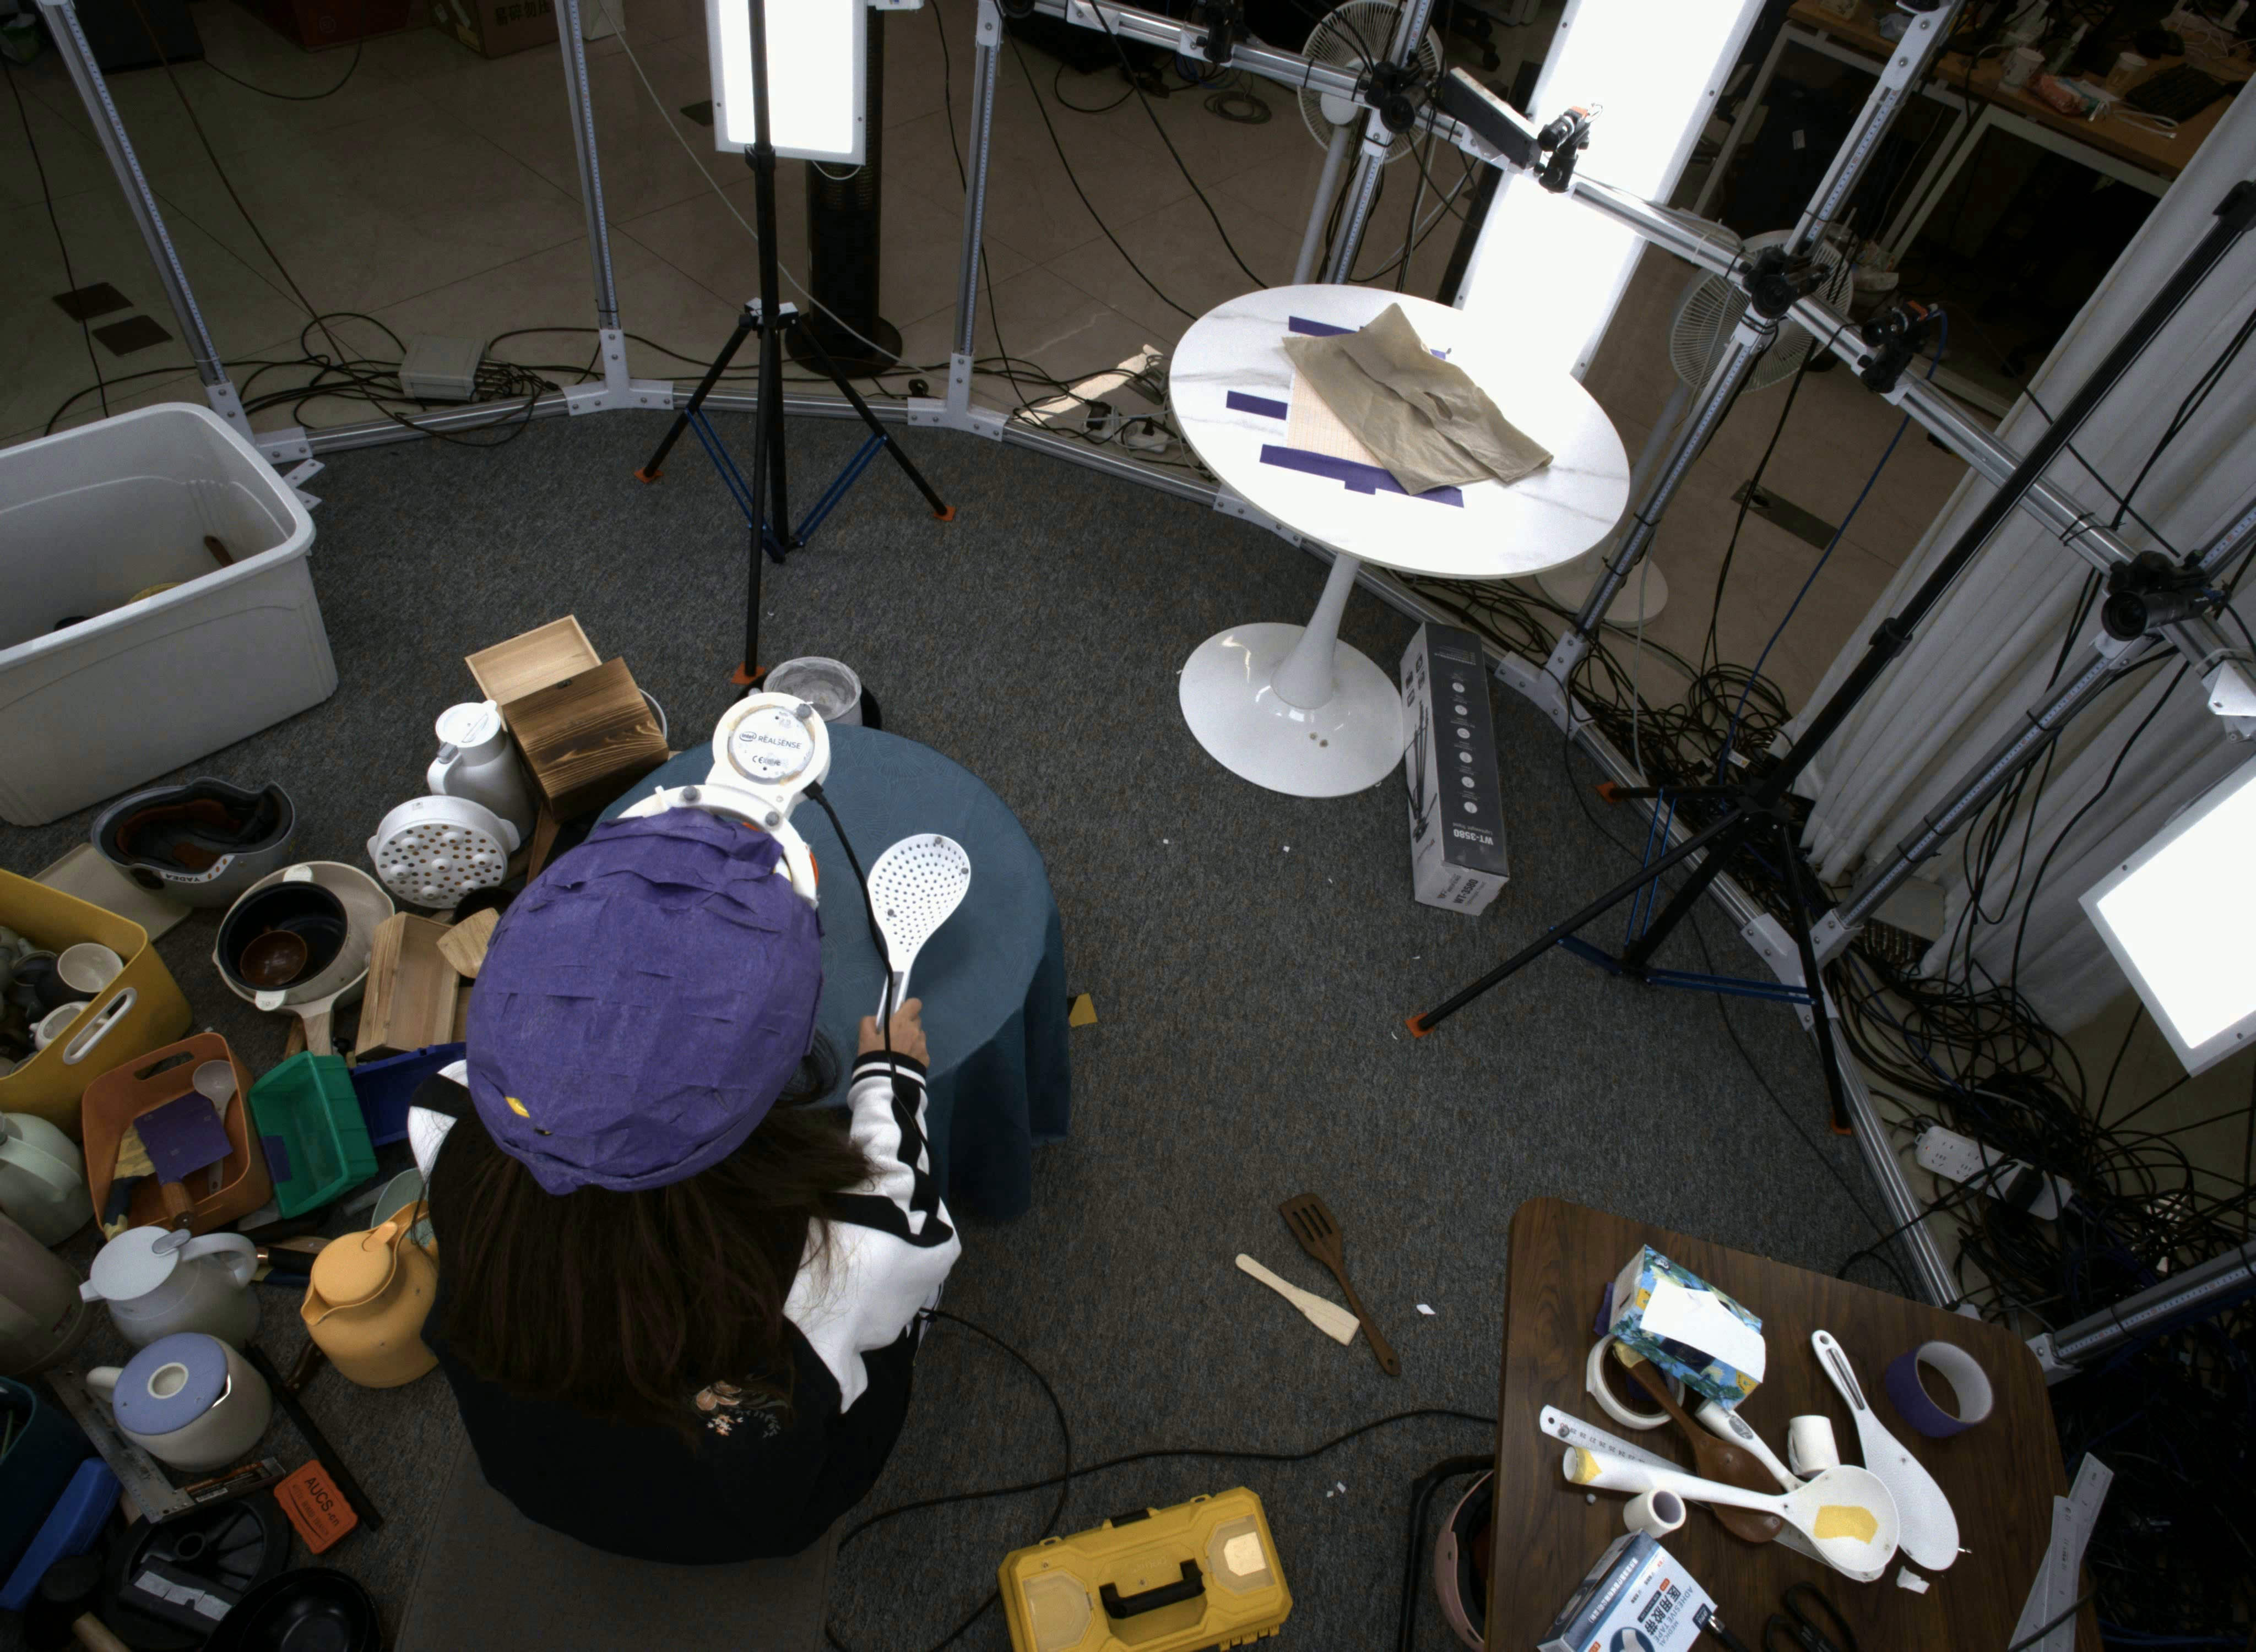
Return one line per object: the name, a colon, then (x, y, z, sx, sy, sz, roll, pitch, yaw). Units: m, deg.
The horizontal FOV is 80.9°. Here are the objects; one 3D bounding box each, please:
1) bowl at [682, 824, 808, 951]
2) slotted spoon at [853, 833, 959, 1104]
bowl: (-0.464, 0.085, 1.579, 0.148, 0.107, 0.145, 8, 50, -8)
slotted spoon: (-0.282, 0.164, 1.572, 0.133, 0.047, 0.345, -1, 55, 15)
